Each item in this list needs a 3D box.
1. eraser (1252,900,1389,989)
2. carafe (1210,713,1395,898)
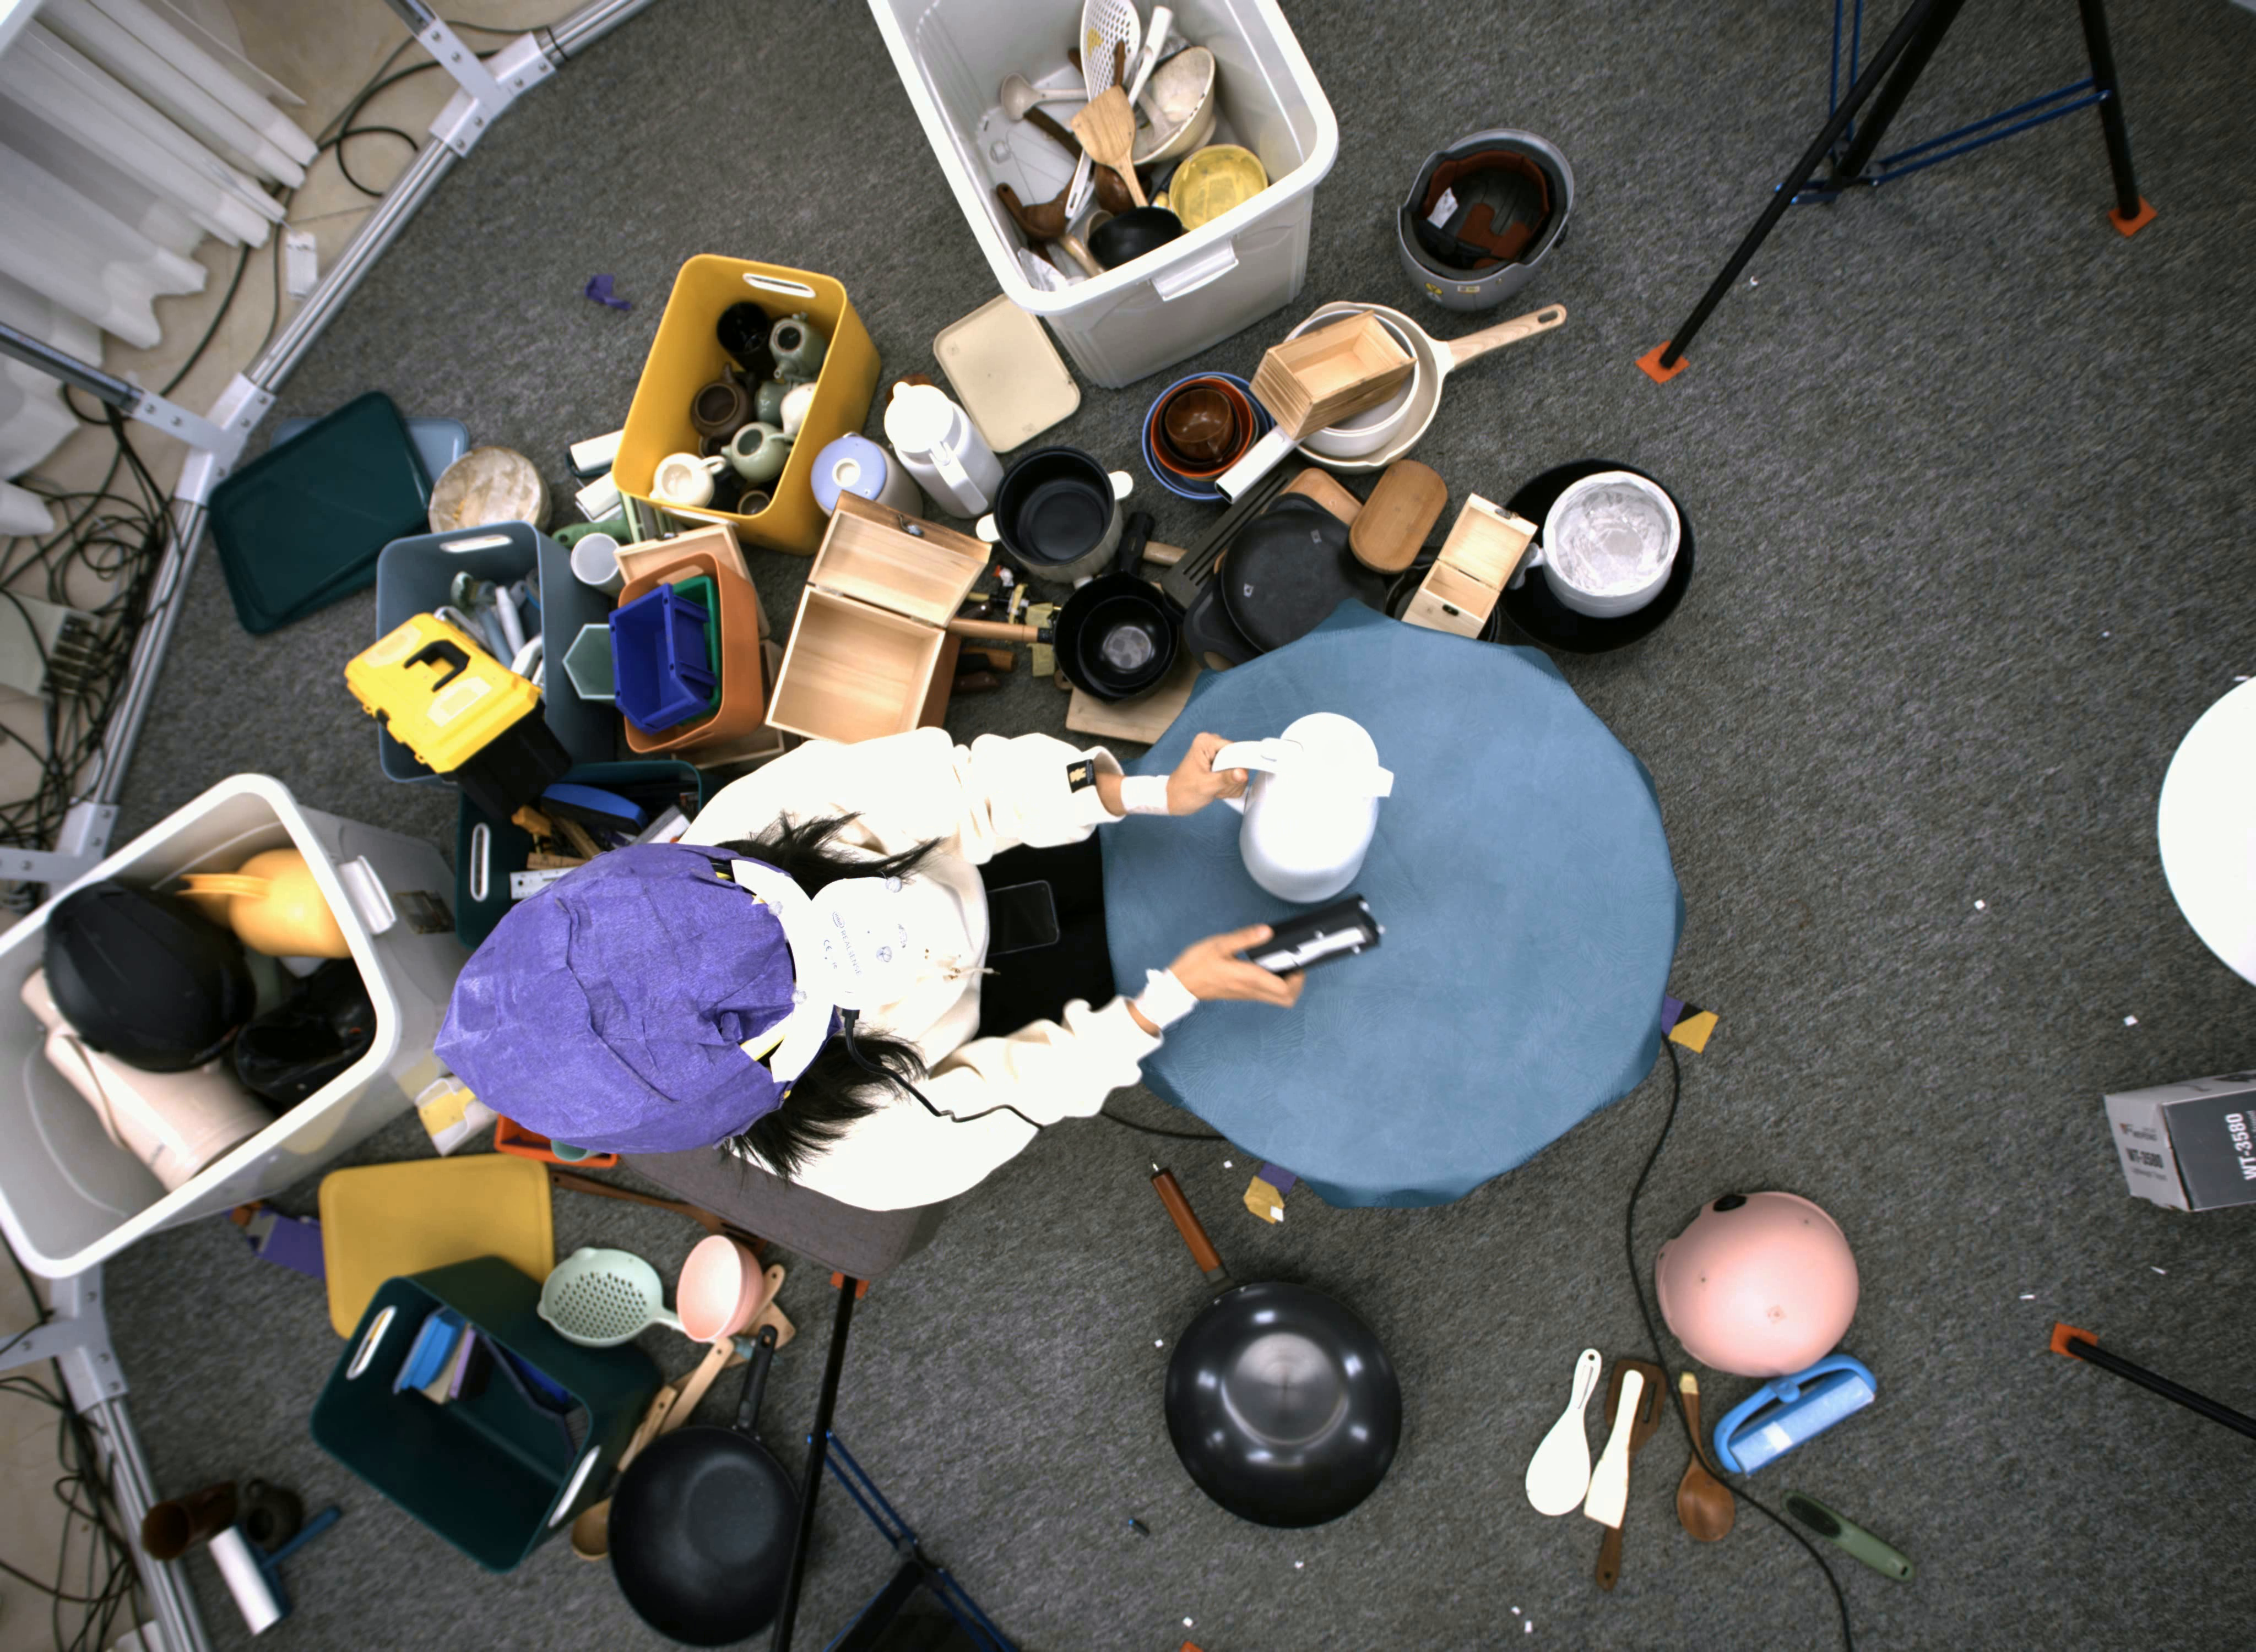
[{"bbox_3d":[0.188,0.115,1.355,0.127,0.029,0.054,-23,119,23],"label":"eraser"},{"bbox_3d":[0.162,-0.028,1.340,0.168,0.252,0.131,13,75,6],"label":"carafe"}]
